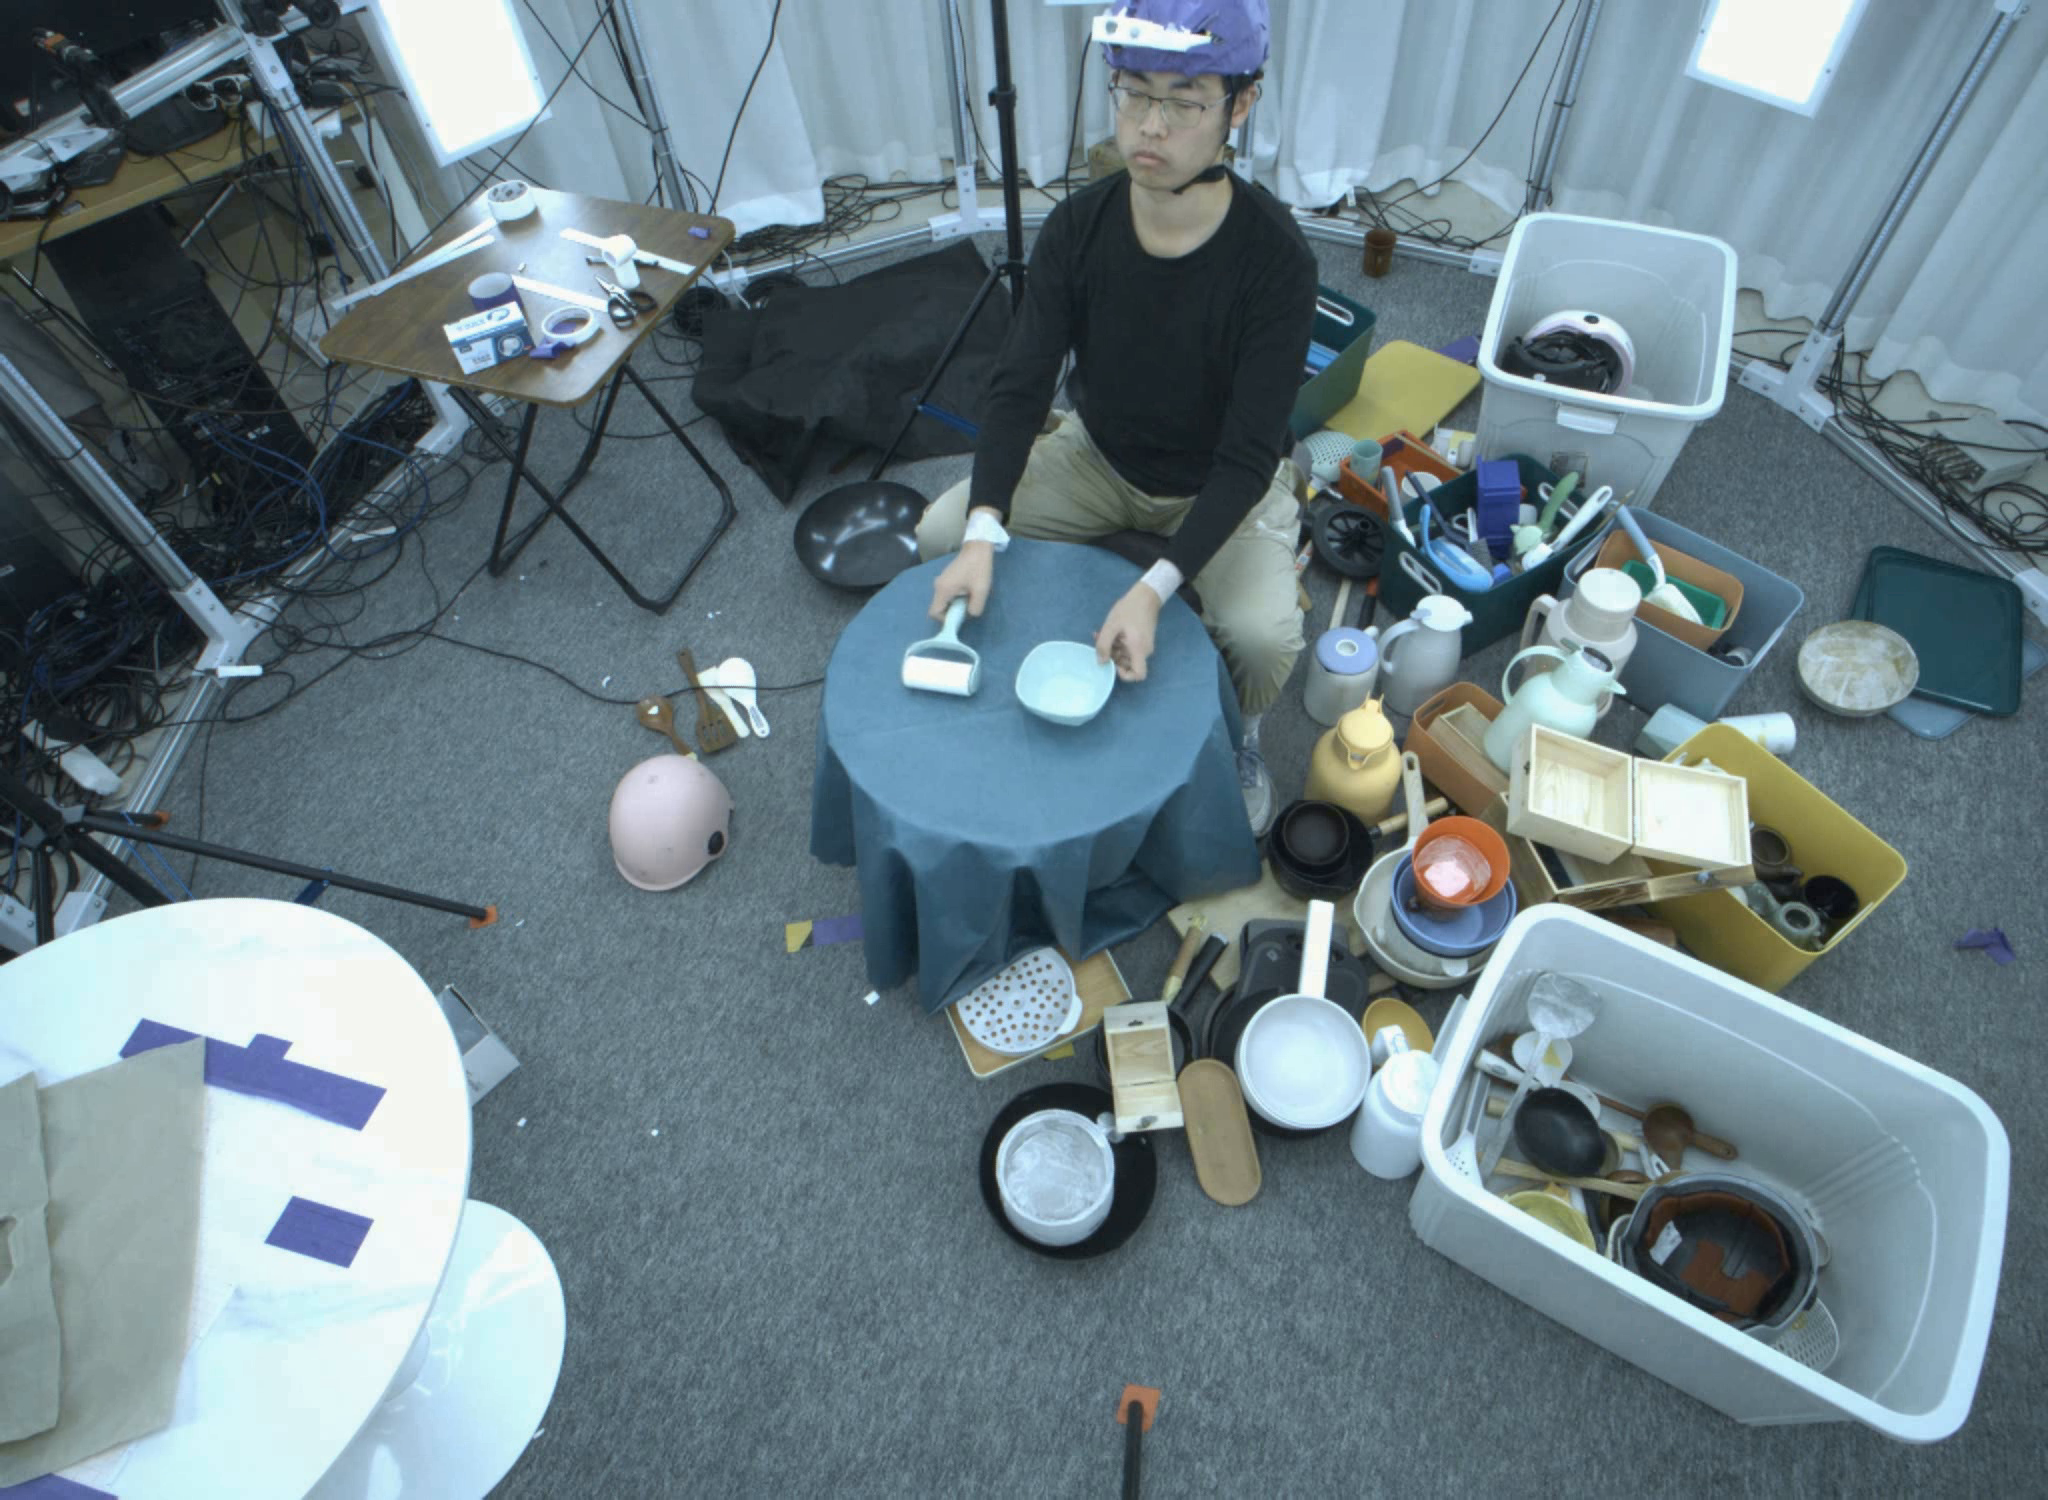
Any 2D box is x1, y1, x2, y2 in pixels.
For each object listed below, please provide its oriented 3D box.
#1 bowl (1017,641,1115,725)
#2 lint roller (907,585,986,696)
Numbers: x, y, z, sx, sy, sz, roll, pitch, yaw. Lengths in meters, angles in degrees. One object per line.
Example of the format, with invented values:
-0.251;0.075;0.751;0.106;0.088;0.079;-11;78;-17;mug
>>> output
0.063;-0.089;1.813;0.151;0.059;0.150;-1;55;3;bowl
-0.103;-0.174;1.865;0.116;0.049;0.196;8;67;11;lint roller
